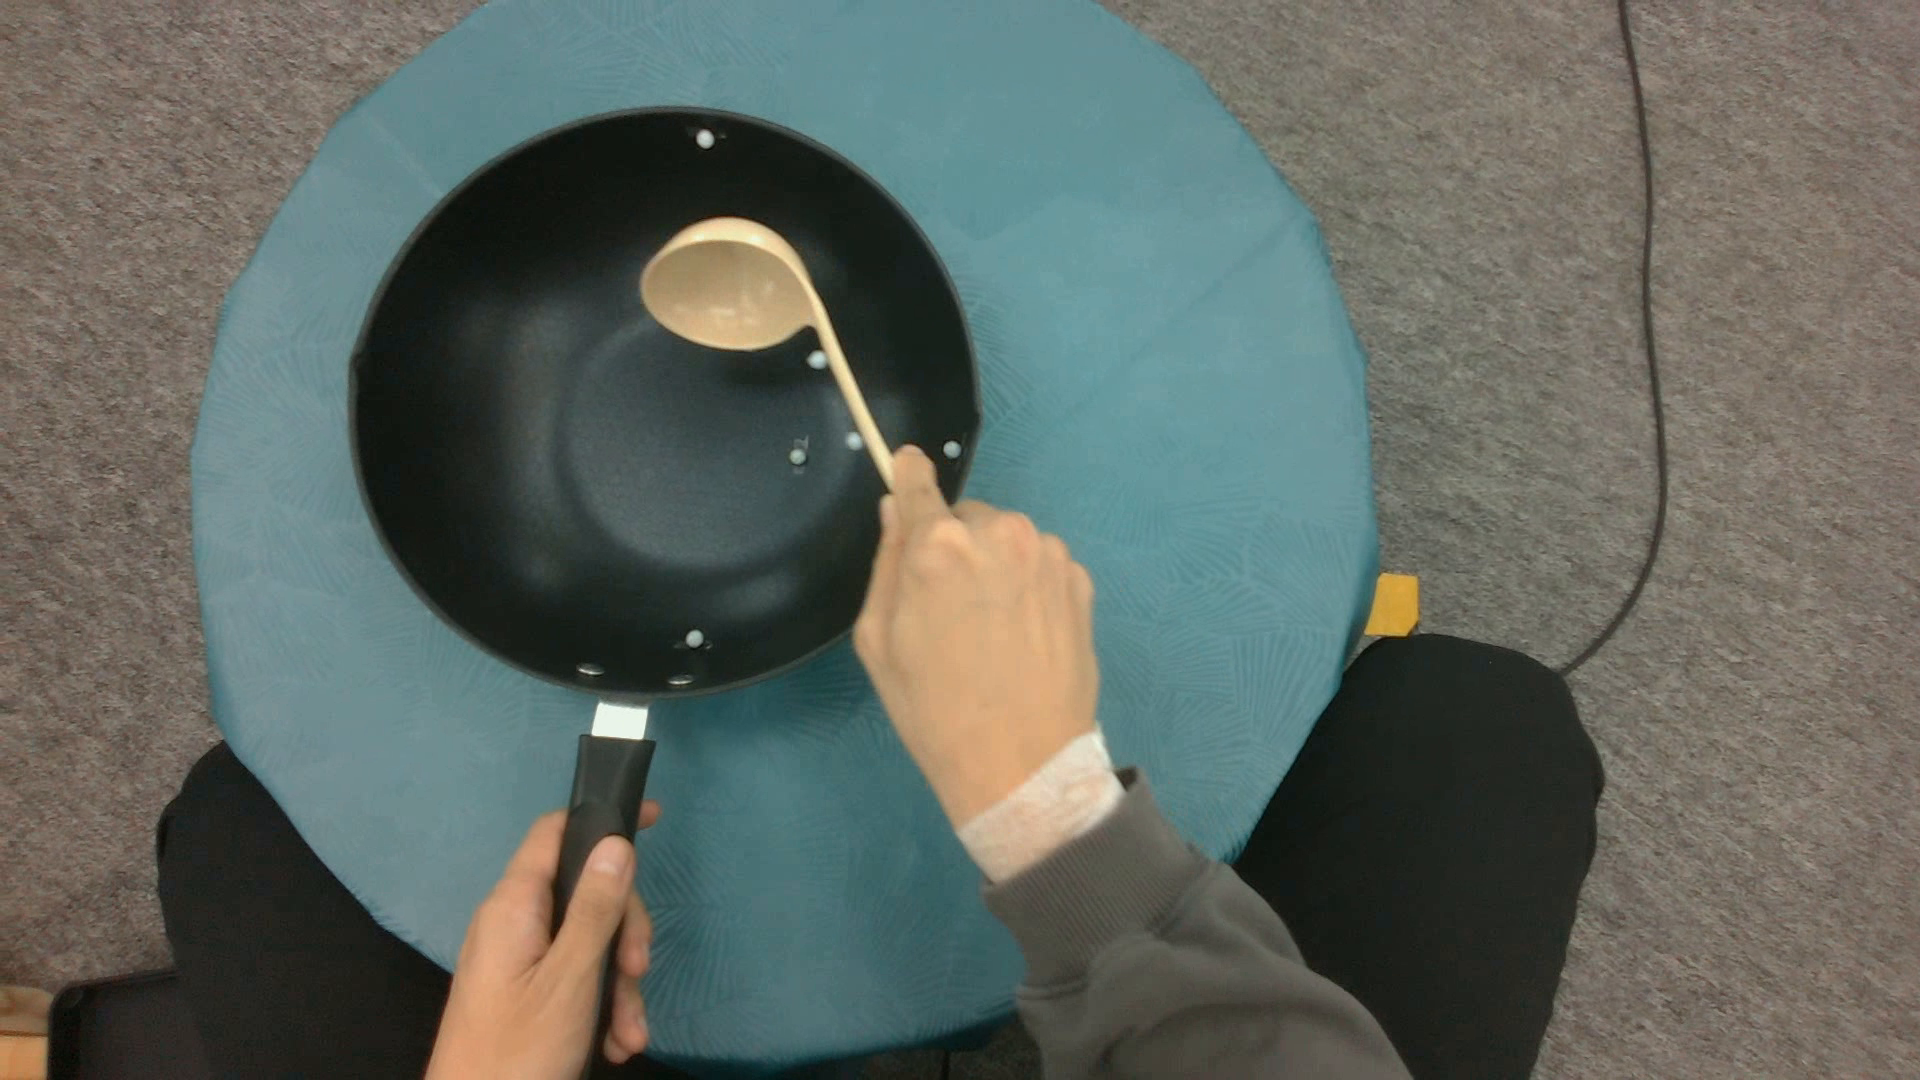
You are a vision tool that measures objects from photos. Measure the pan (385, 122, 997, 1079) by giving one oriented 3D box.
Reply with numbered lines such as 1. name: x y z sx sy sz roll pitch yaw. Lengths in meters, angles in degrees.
1. pan: -0.136 0.032 0.657 0.288 0.087 0.464 6 79 2

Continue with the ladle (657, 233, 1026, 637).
1. ladle: -0.061 -0.042 0.589 0.073 0.072 0.255 -18 51 -18
